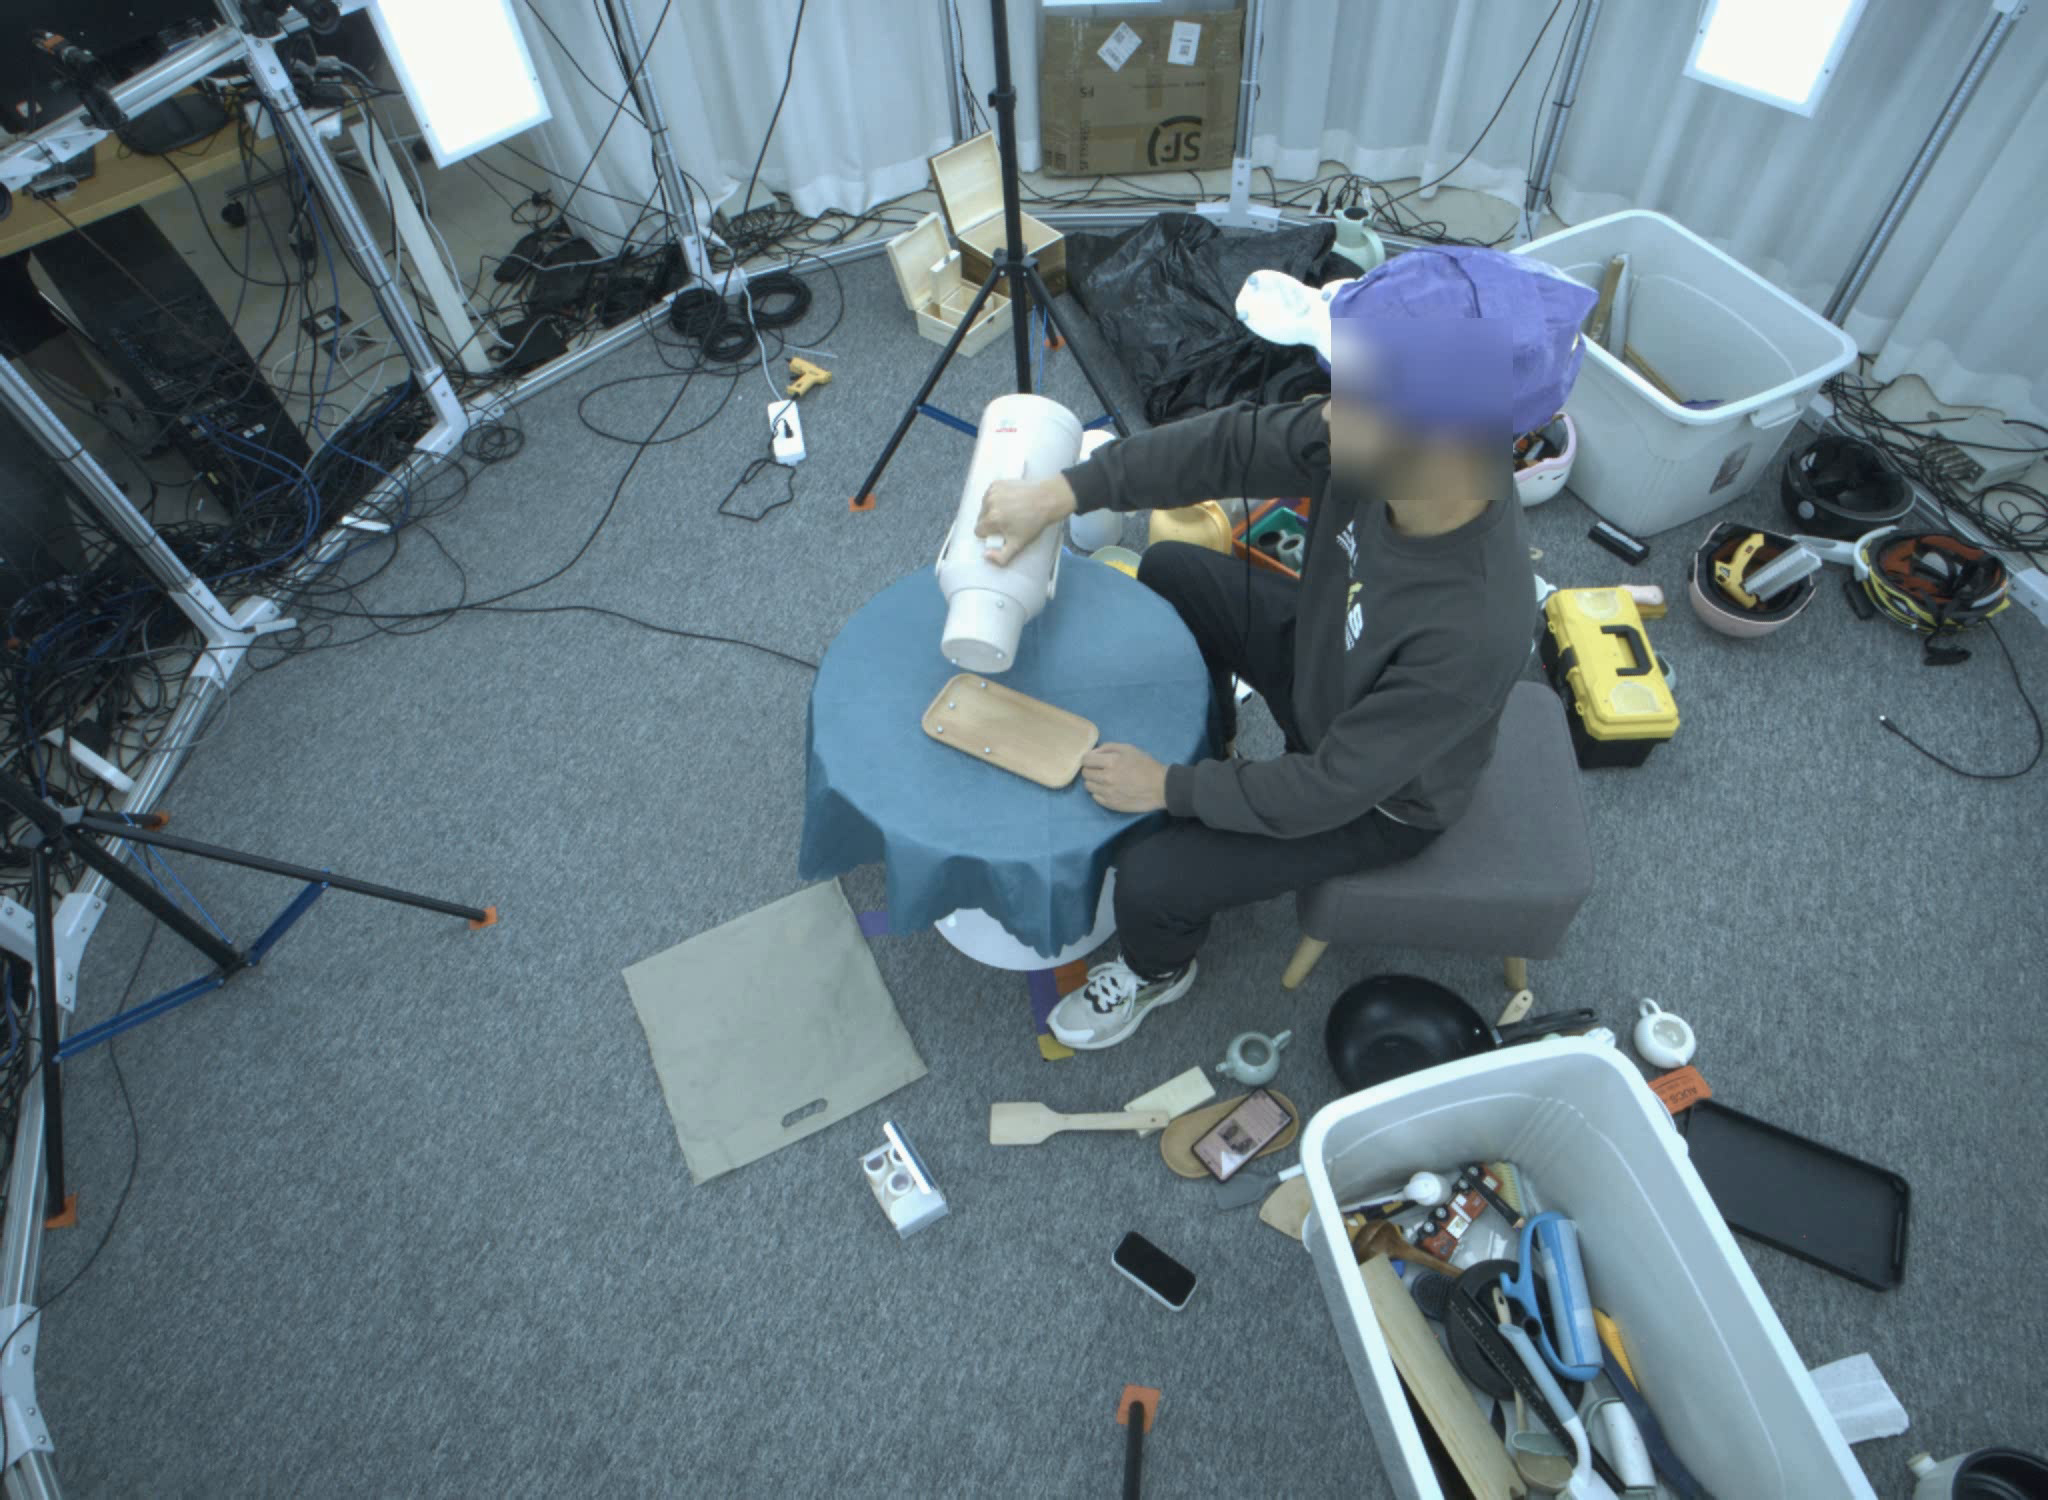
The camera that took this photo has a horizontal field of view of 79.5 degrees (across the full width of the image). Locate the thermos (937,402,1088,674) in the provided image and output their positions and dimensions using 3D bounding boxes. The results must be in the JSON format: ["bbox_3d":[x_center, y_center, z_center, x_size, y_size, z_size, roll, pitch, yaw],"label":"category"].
[{"bbox_3d":[-0.021,-0.317,1.777,0.175,0.208,0.404,13,68,4],"label":"thermos"}]

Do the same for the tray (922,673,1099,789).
[{"bbox_3d":[-0.020,-0.029,1.797,0.247,0.023,0.131,24,61,17],"label":"tray"}]
